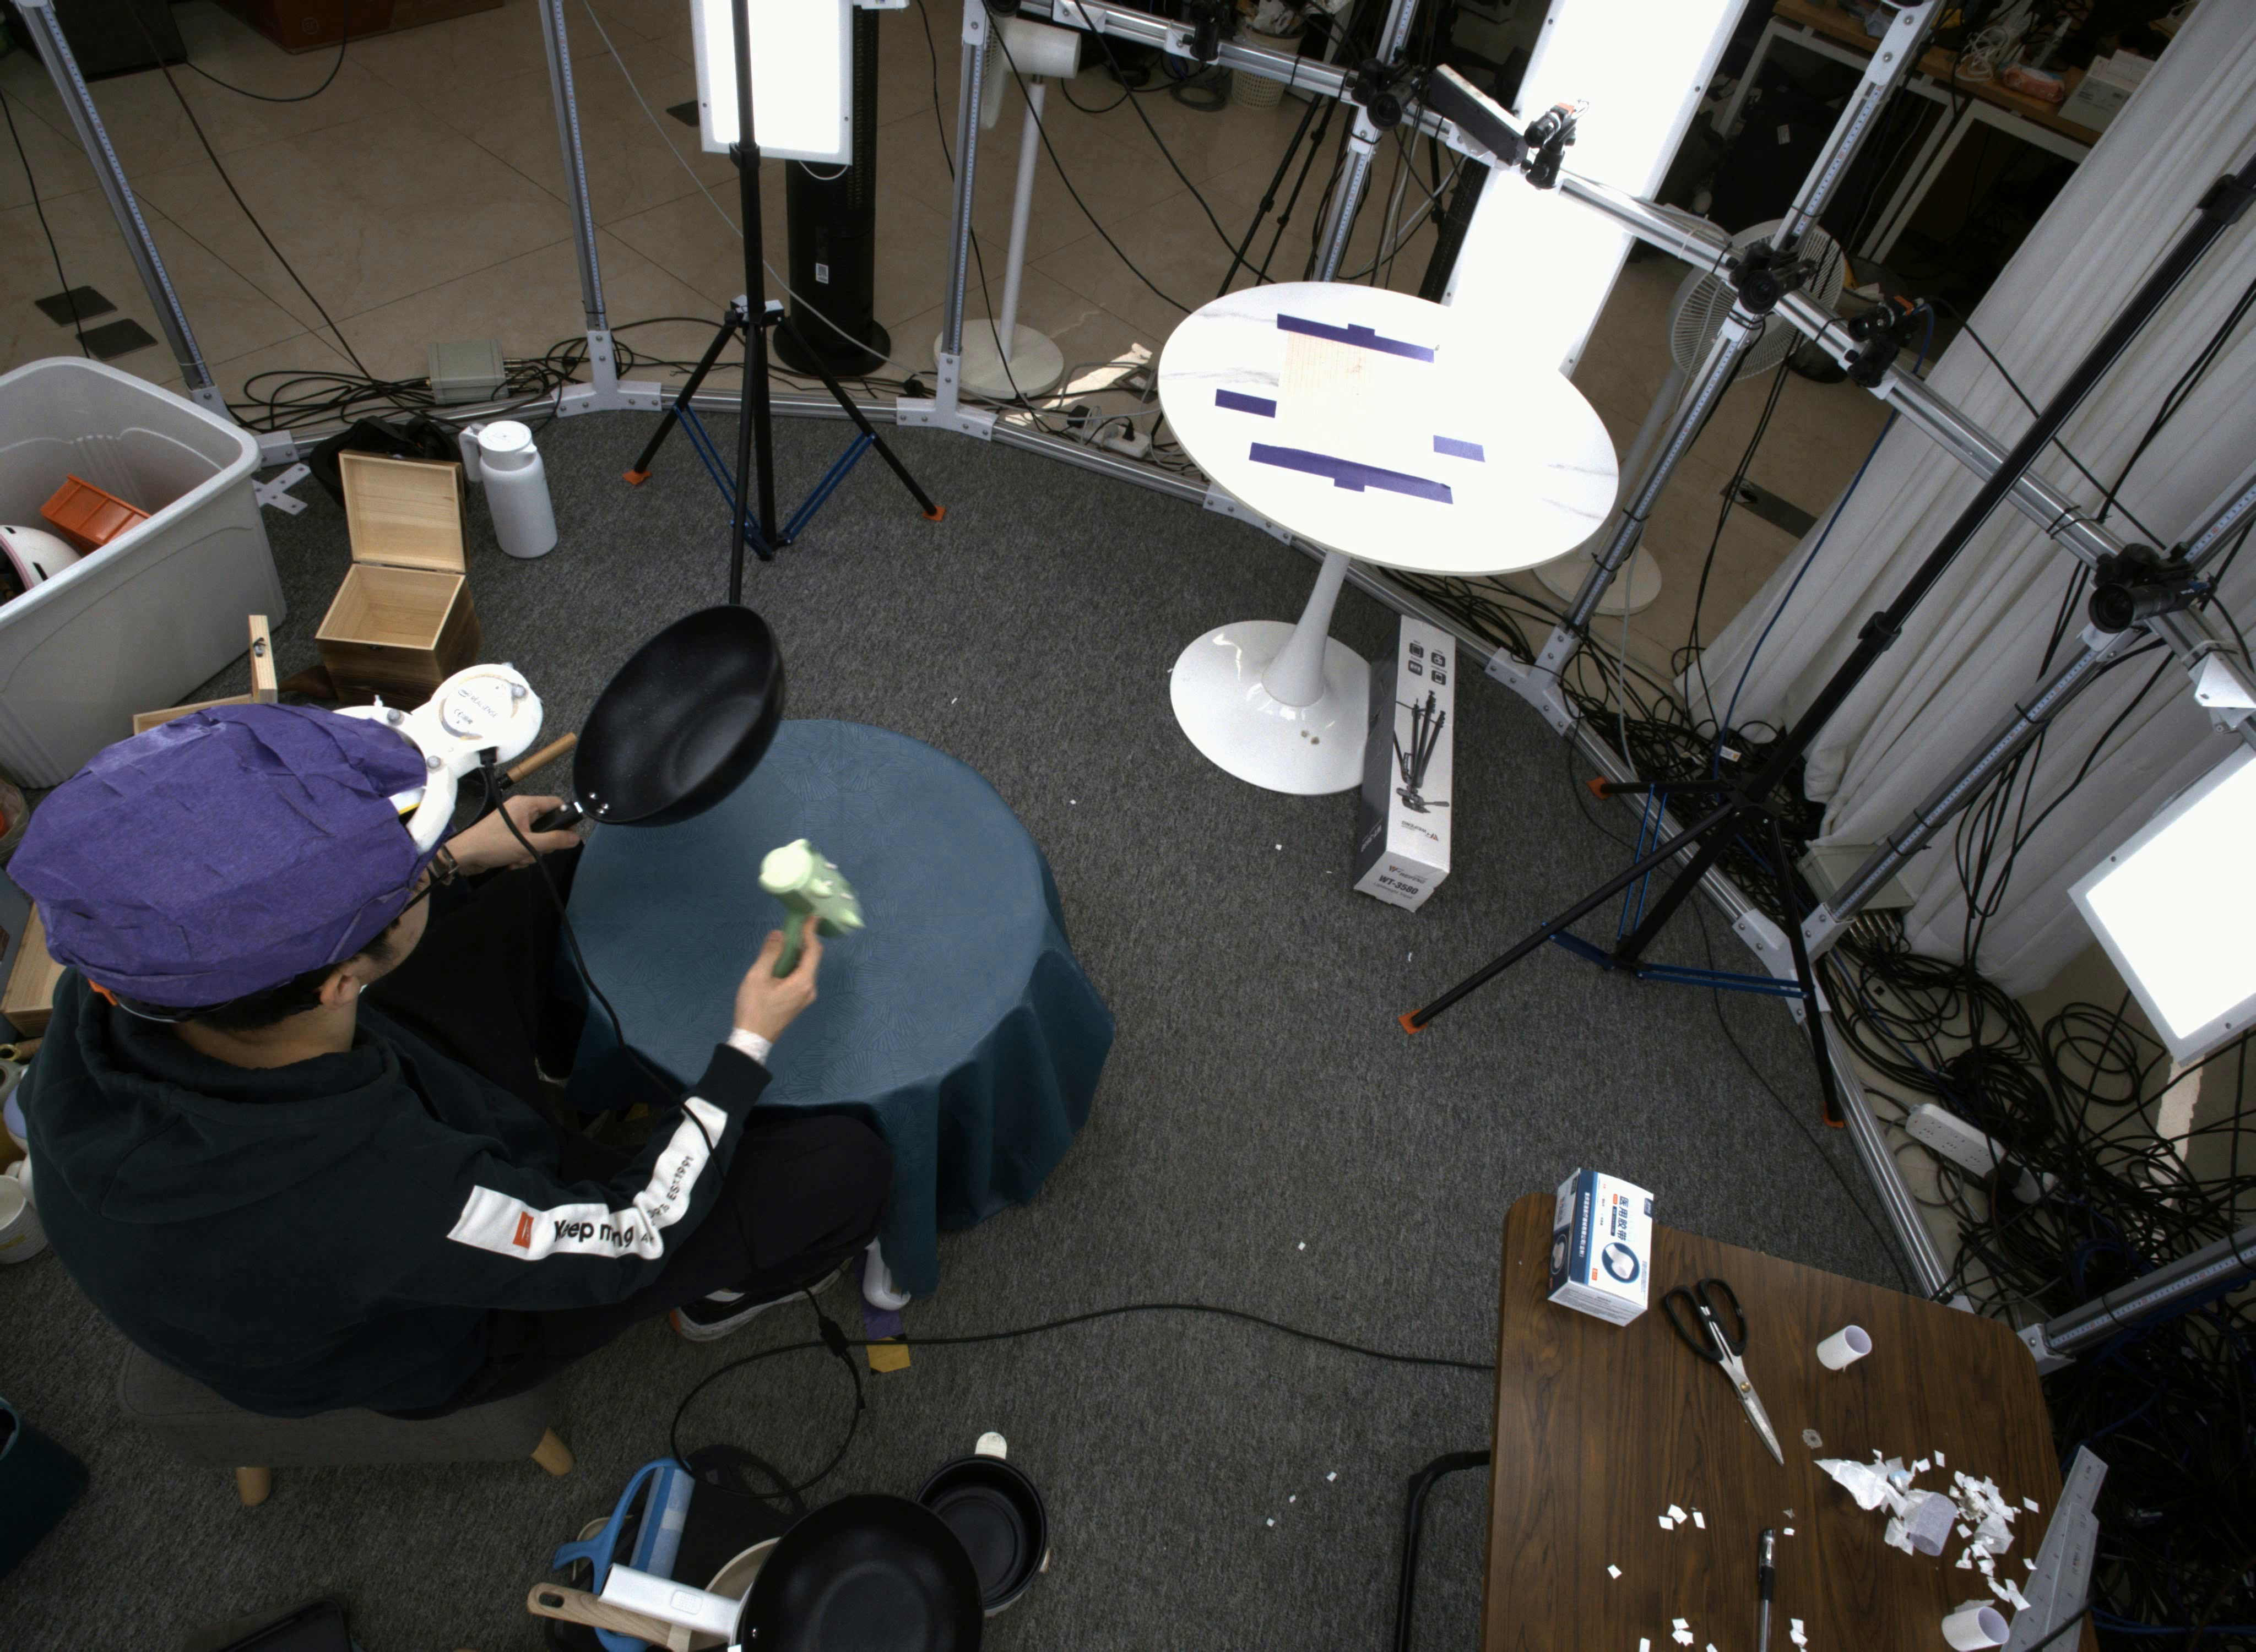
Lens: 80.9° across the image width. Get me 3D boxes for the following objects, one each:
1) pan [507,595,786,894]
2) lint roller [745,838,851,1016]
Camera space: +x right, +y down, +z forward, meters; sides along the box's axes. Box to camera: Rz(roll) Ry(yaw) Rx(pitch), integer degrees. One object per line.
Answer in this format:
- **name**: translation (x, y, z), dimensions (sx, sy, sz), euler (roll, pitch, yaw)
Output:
- **pan**: translation (-0.579, -0.071, 1.515), dimensions (0.477, 0.116, 0.299), euler (-45, 47, -2)
- **lint roller**: translation (-0.375, 0.126, 1.465), dimensions (0.081, 0.202, 0.183), euler (8, 73, 5)
